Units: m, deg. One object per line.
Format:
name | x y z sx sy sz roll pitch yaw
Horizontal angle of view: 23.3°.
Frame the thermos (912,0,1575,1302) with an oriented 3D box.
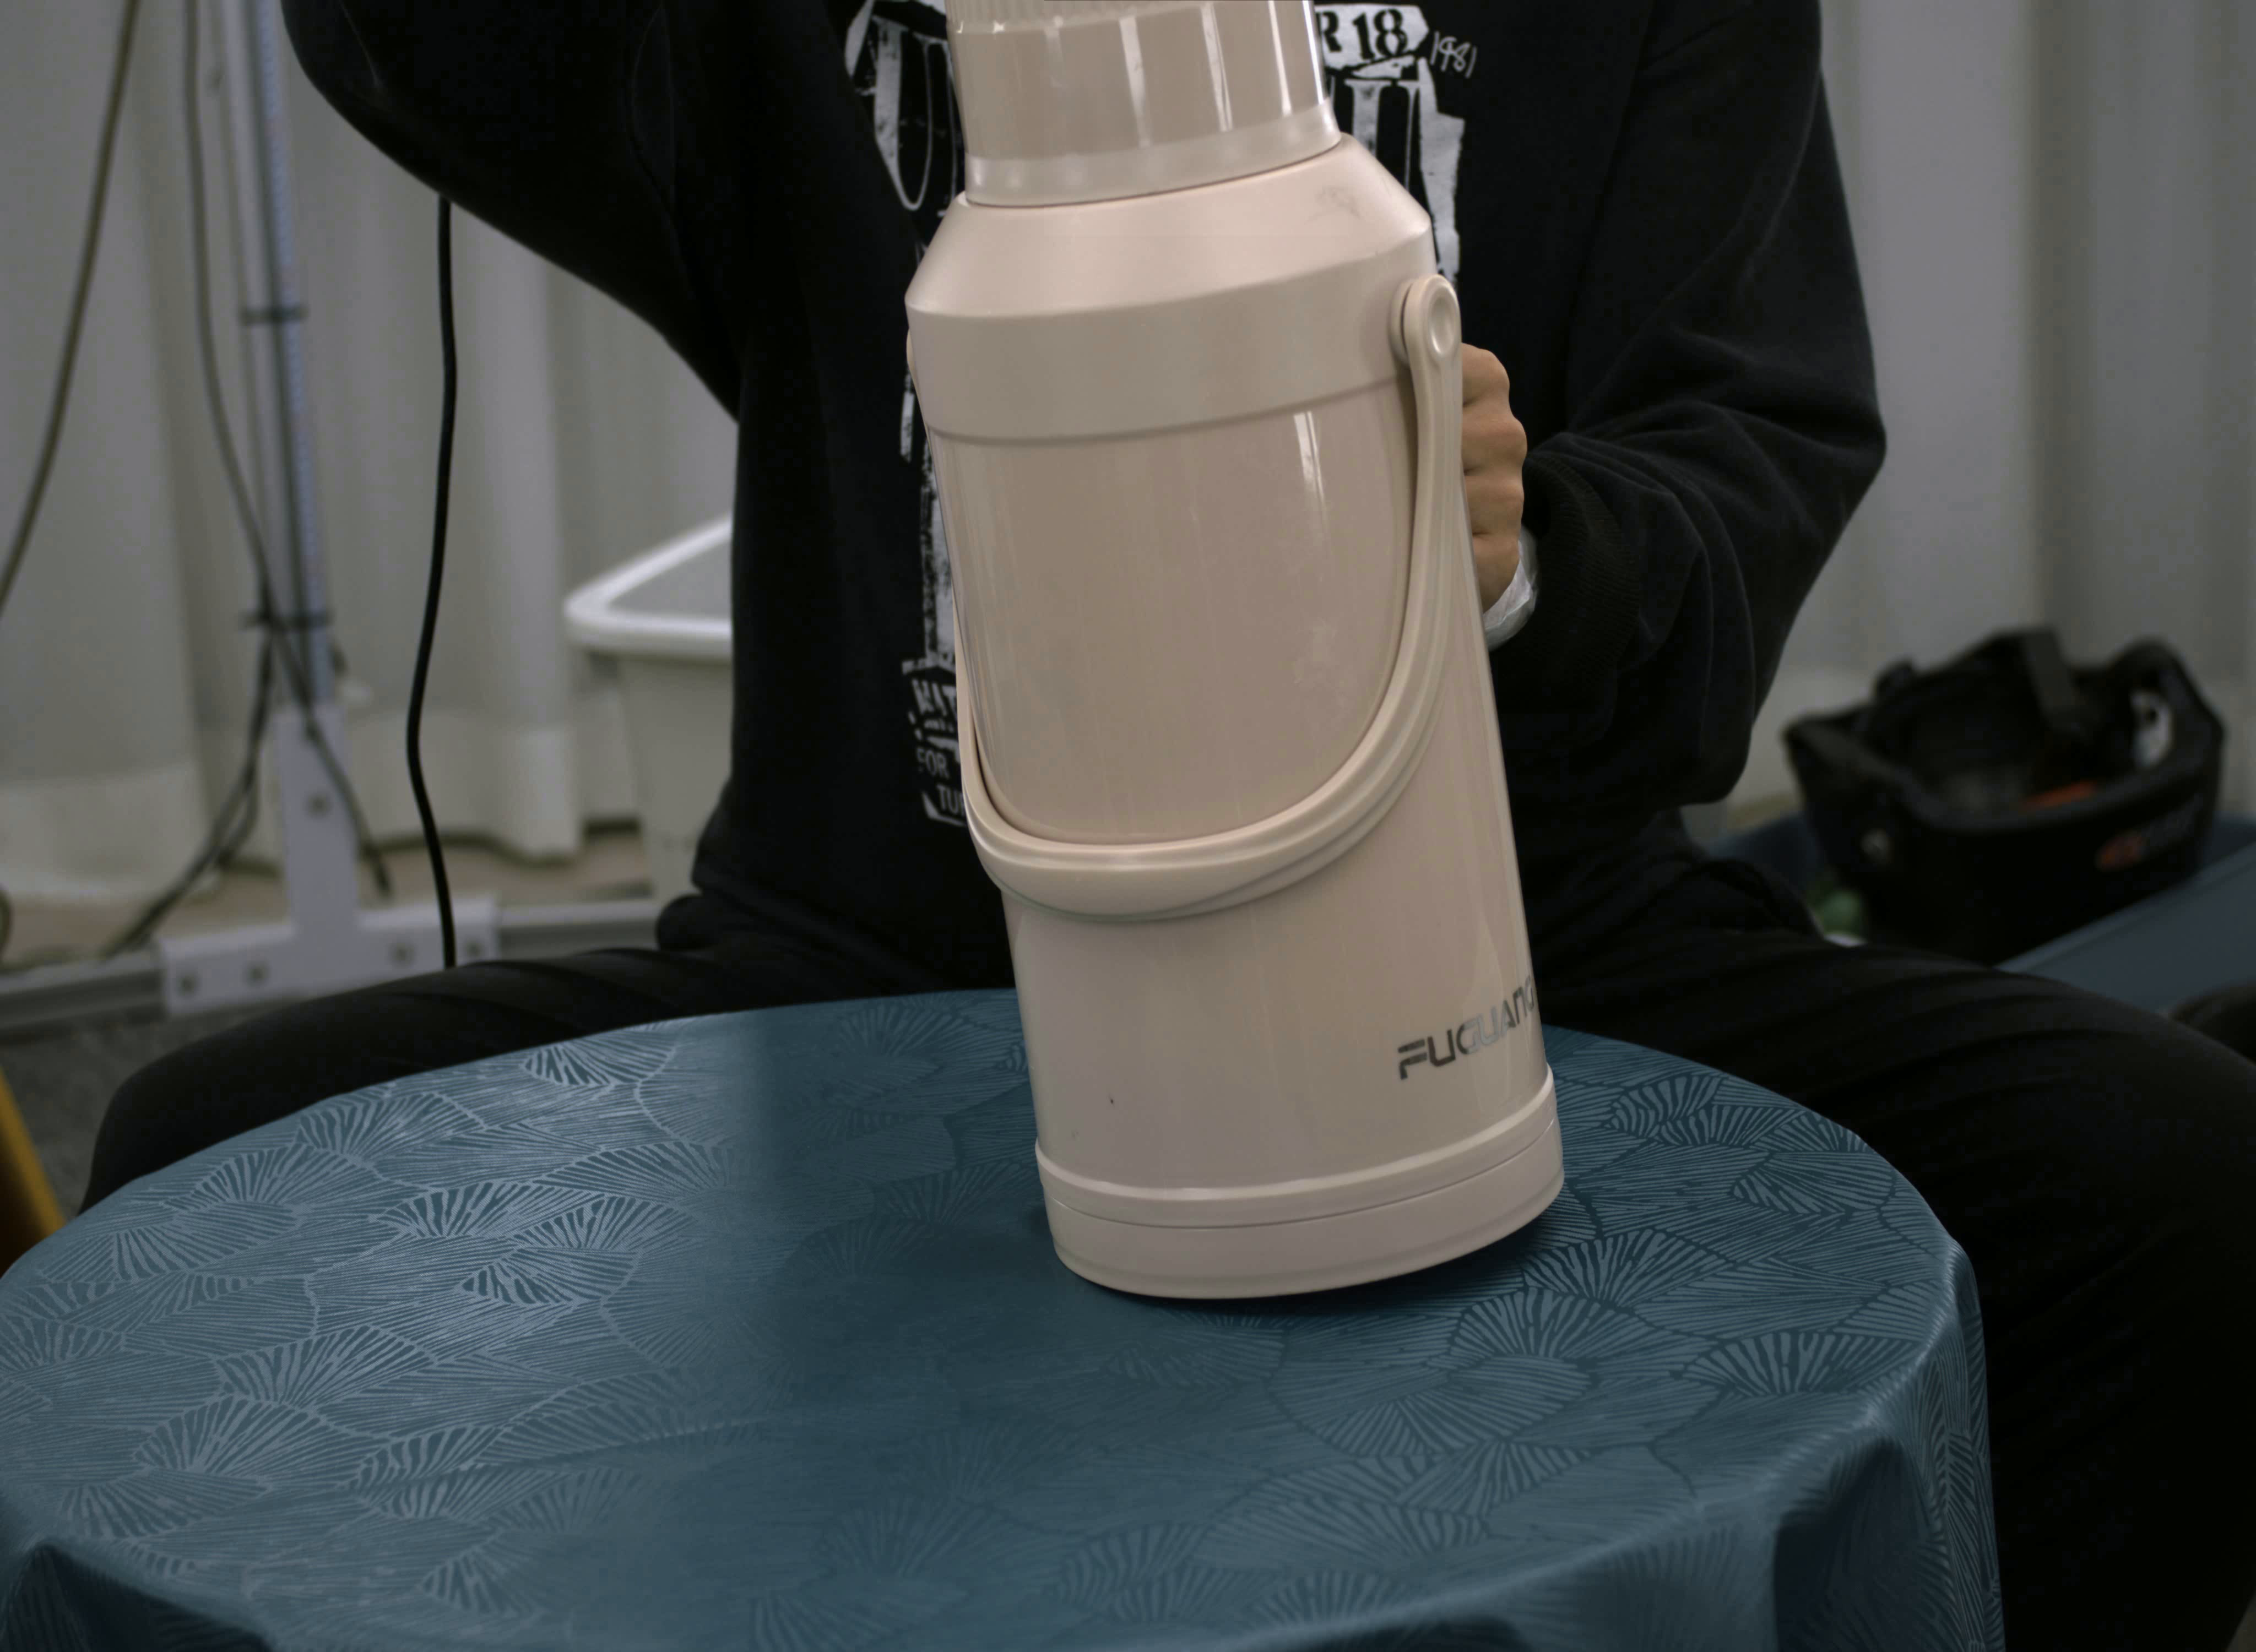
thermos | 0.036 -0.077 1.636 0.175 0.405 0.207 -3 14 31
